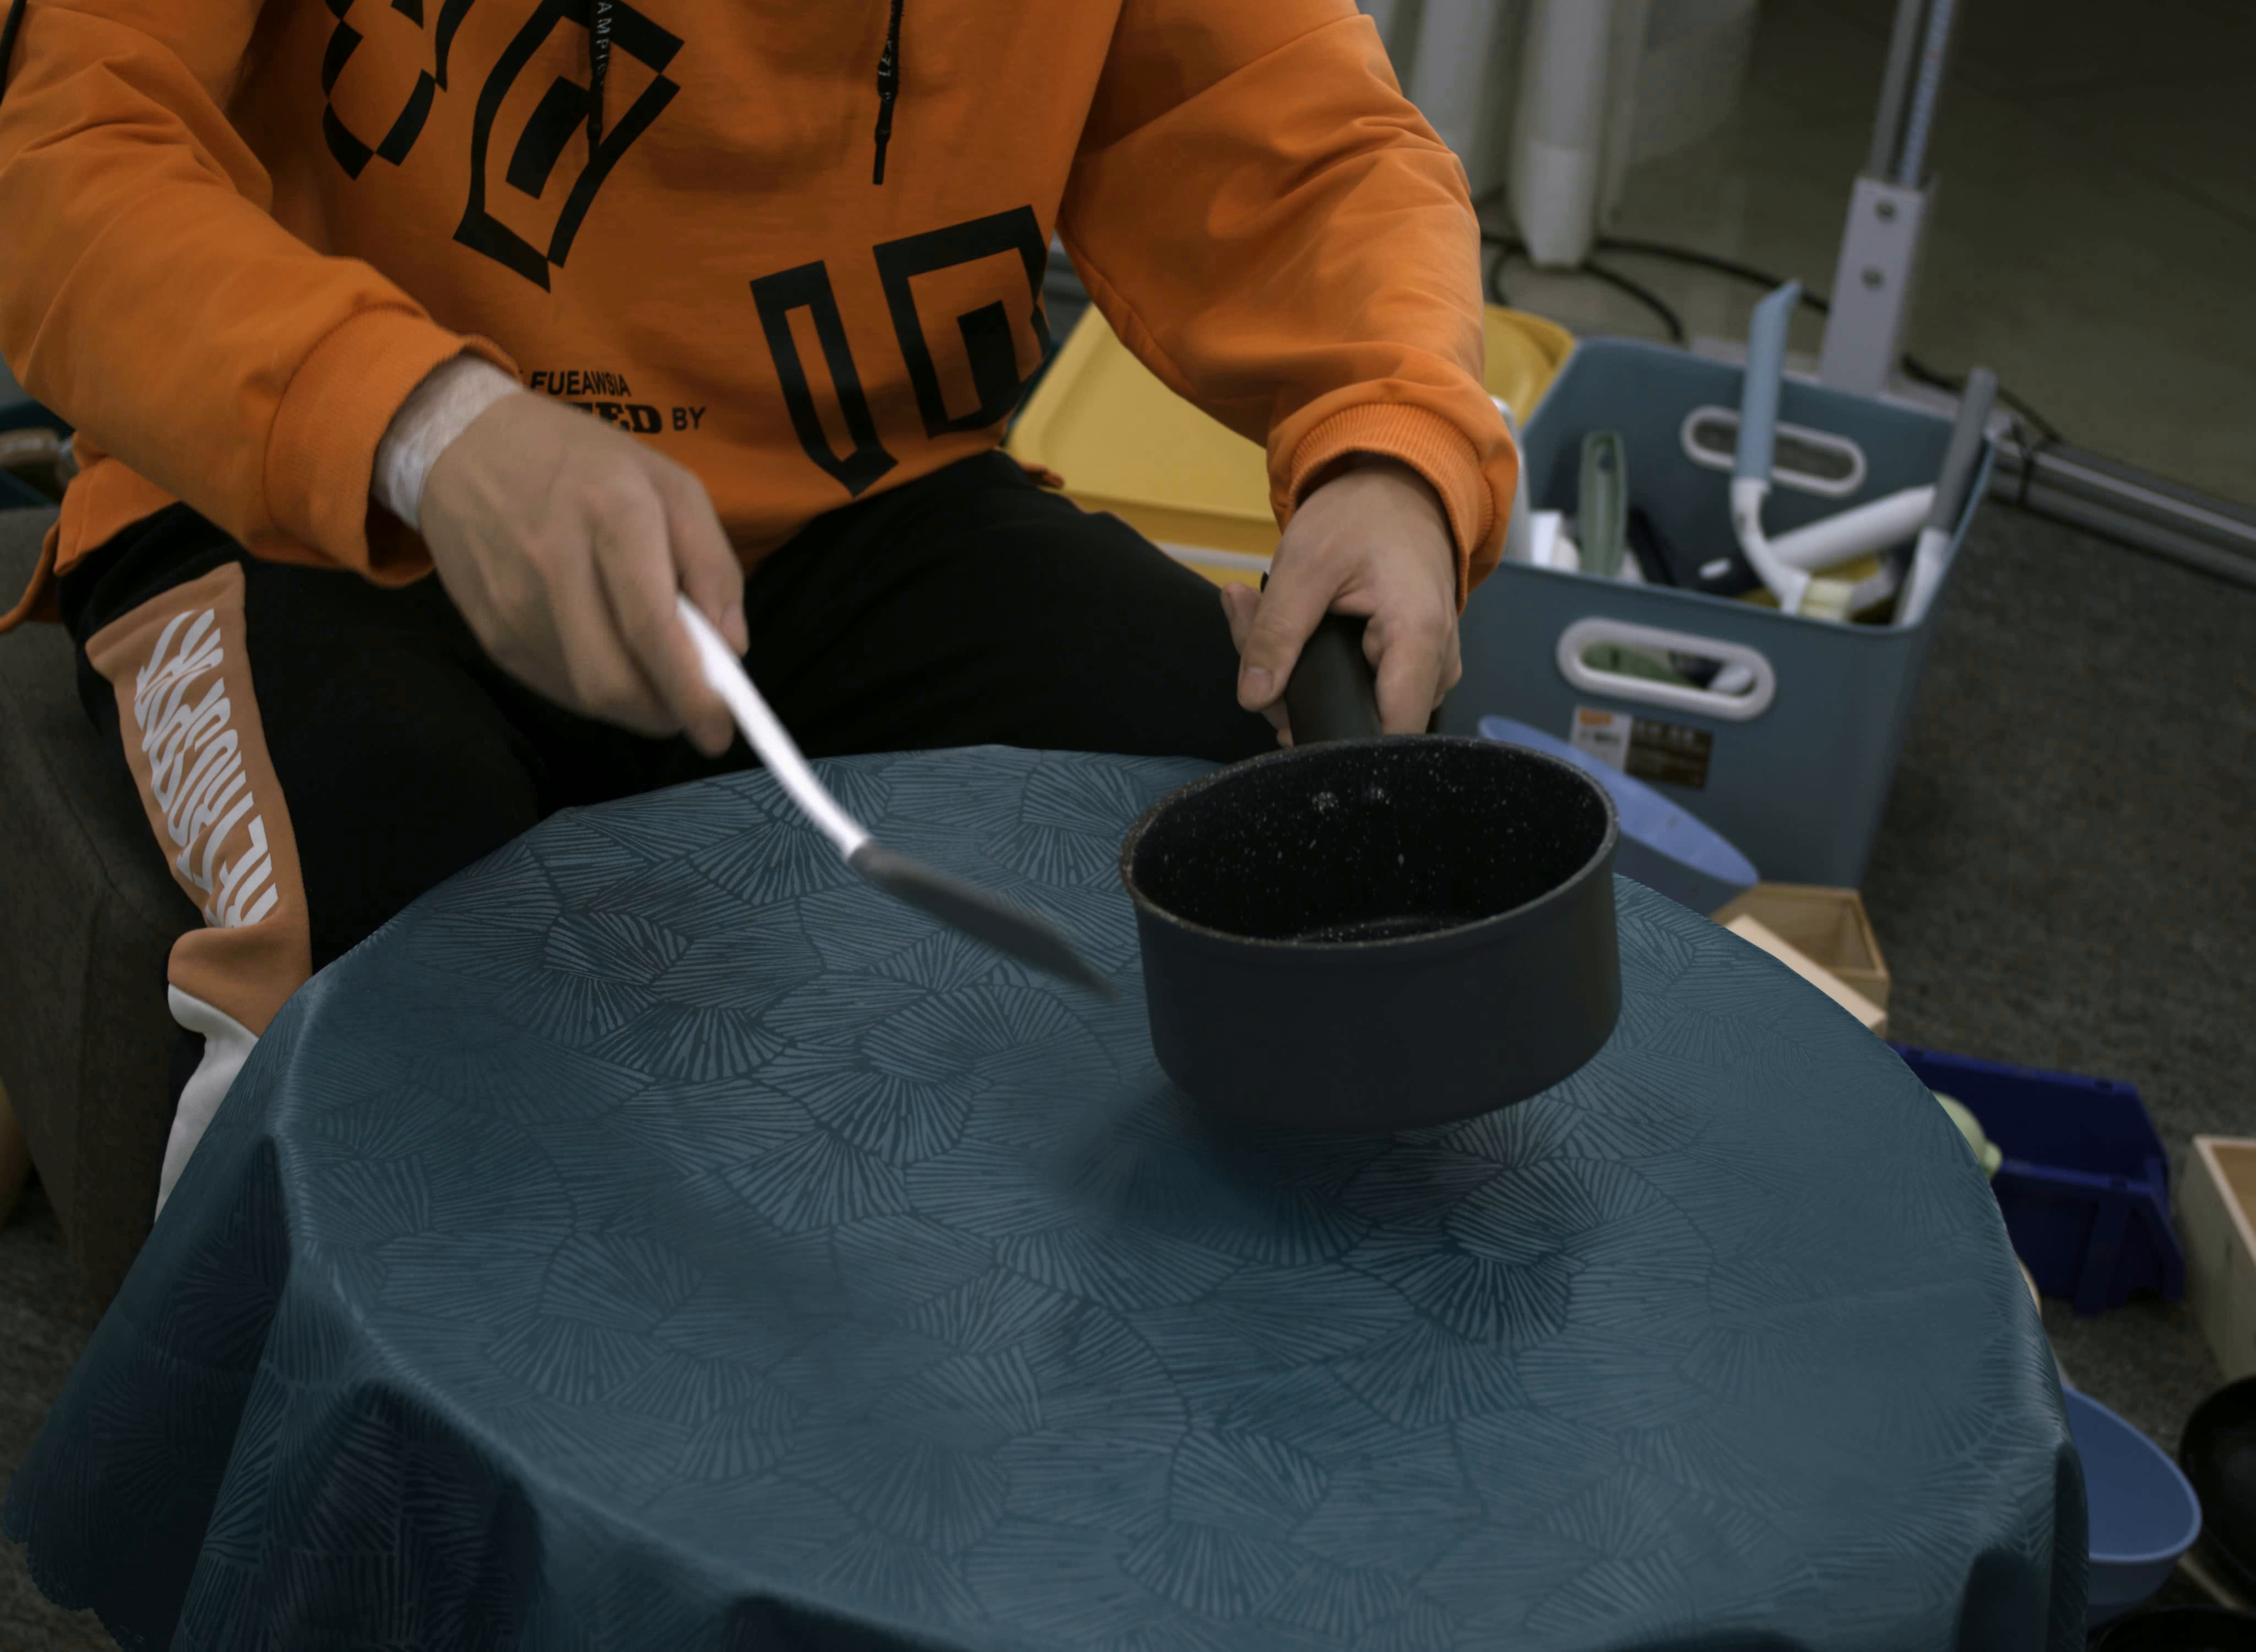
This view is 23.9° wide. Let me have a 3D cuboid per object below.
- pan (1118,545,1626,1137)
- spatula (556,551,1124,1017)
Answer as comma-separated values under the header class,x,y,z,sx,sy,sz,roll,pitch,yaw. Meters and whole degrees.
class,x,y,z,sx,sy,sz,roll,pitch,yaw
pan,0.084,0.002,1.891,0.171,0.086,0.330,-5,25,2
spatula,-0.100,-0.012,1.738,0.032,0.058,0.290,-46,48,-6
